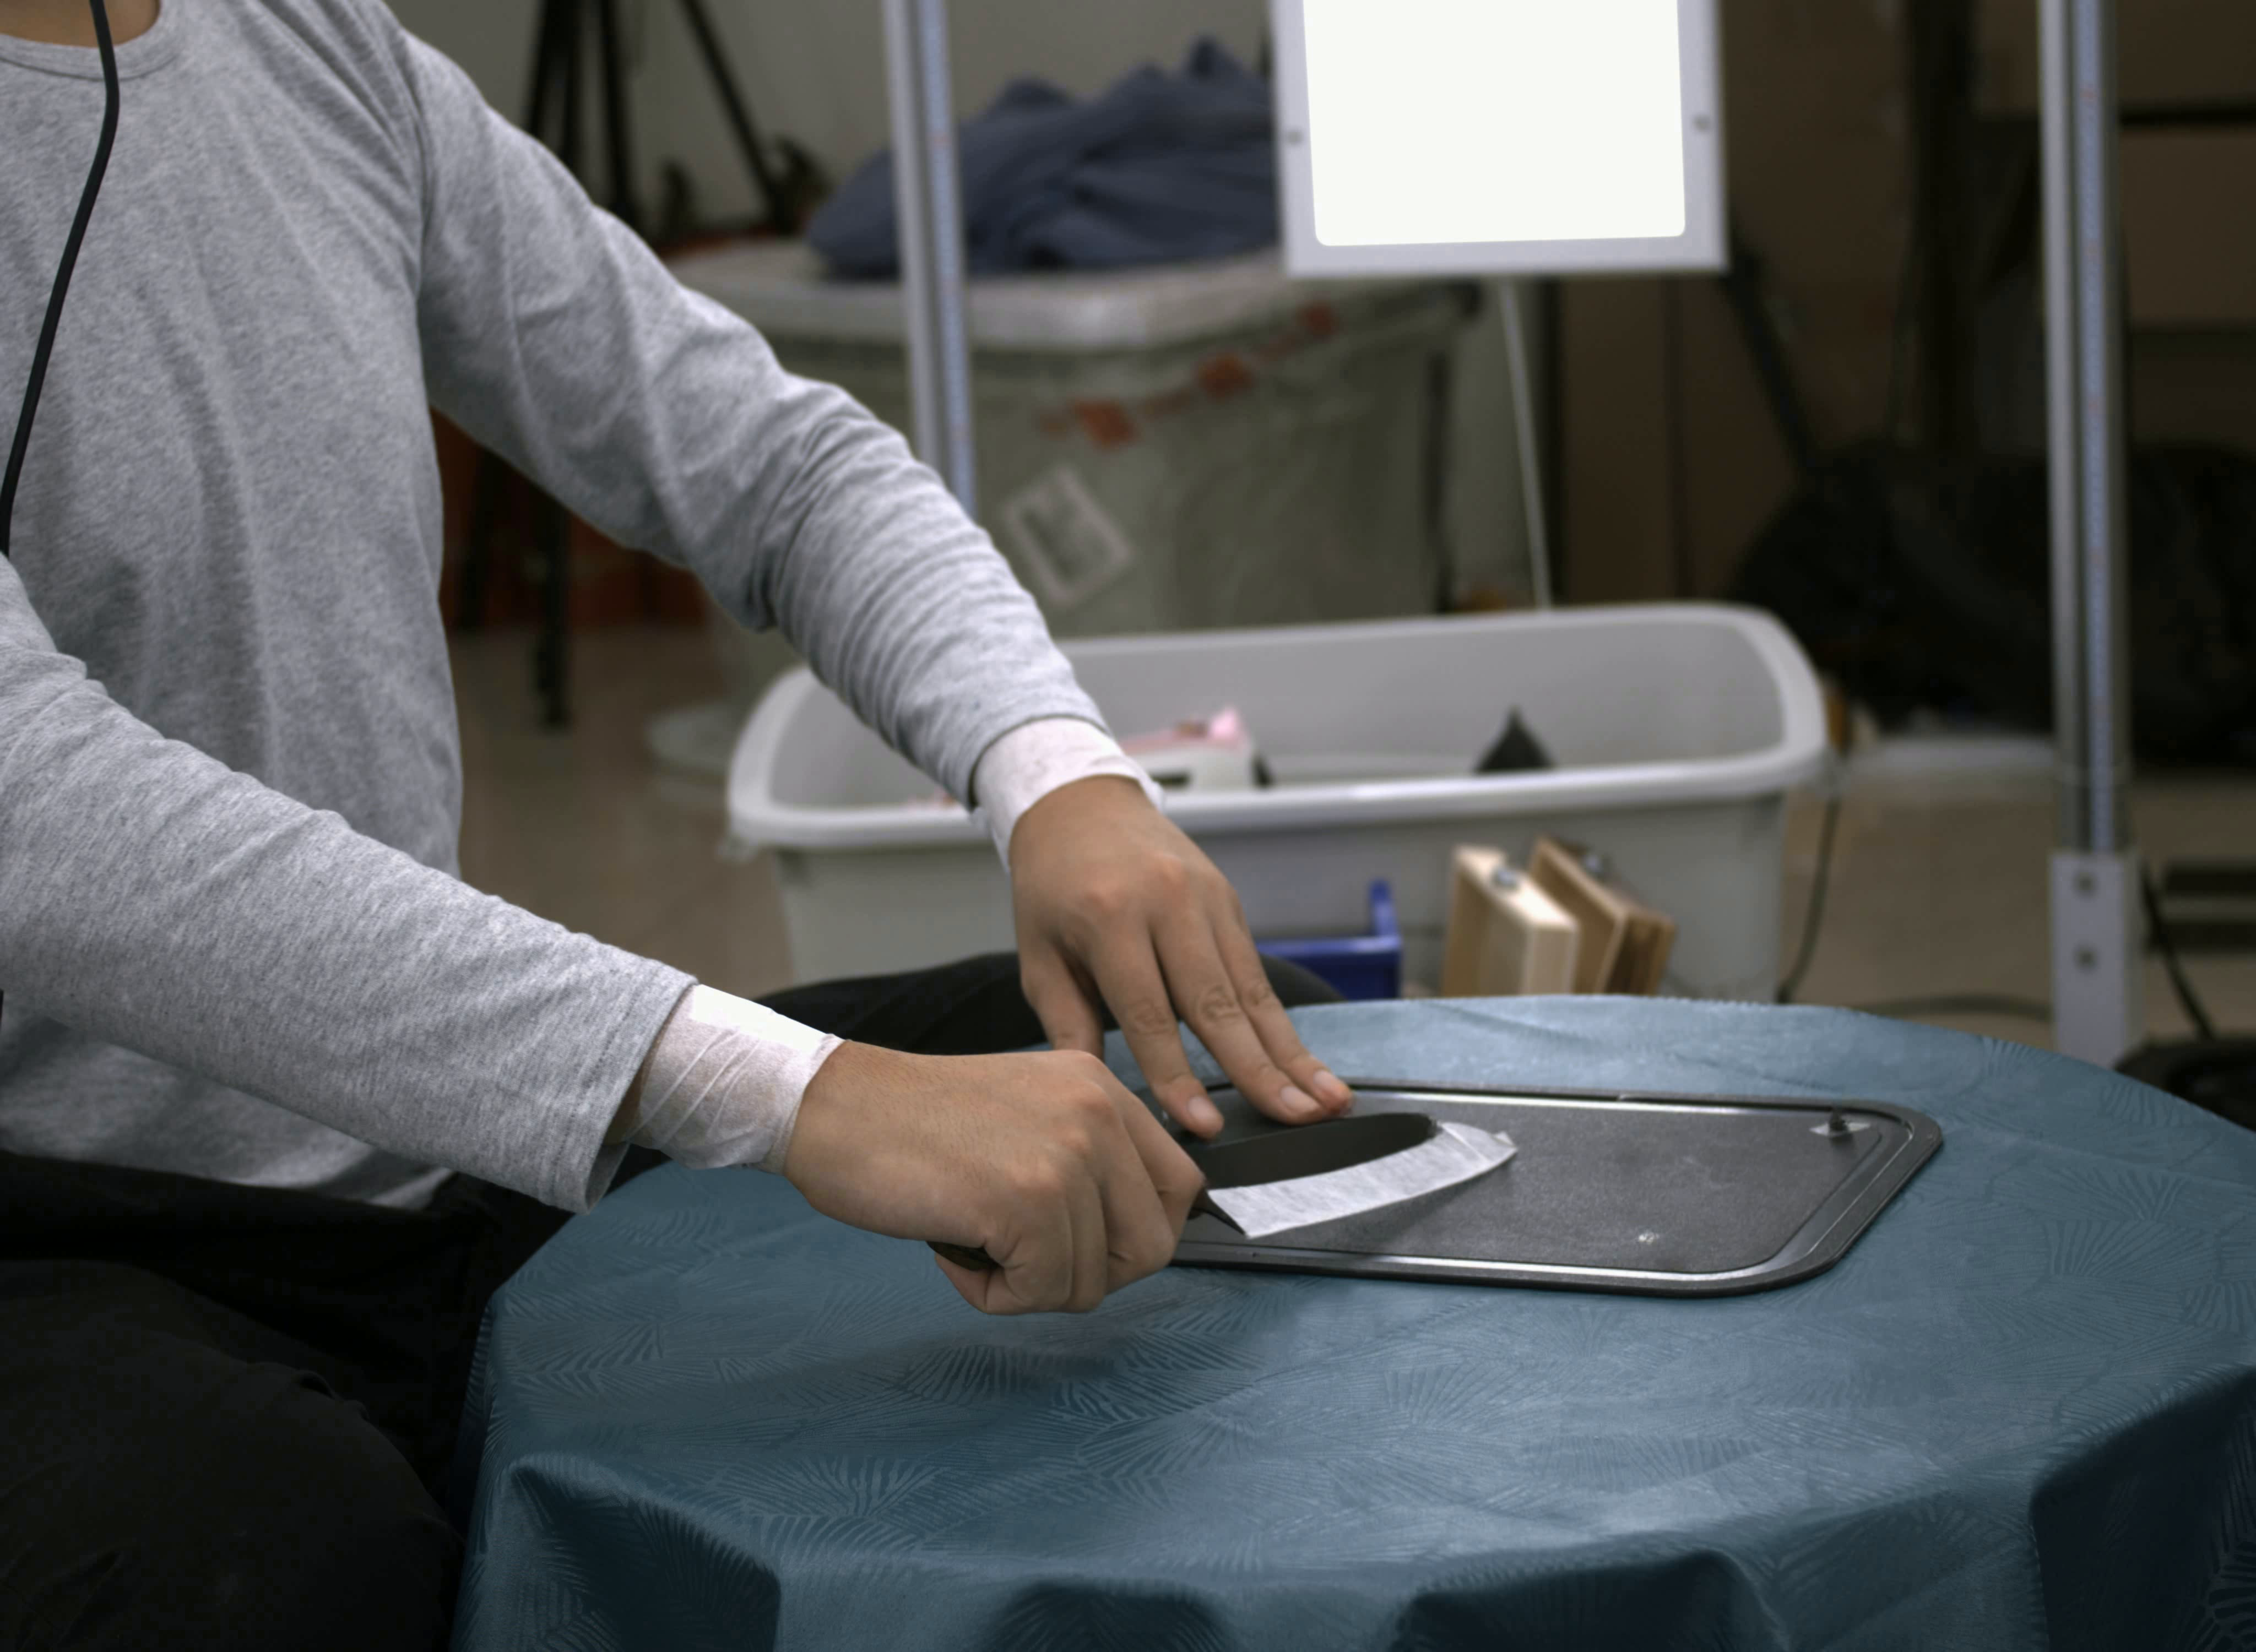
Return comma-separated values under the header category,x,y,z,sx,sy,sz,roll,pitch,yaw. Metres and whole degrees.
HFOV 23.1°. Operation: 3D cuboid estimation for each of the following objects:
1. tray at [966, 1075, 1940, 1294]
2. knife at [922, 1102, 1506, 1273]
category,x,y,z,sx,sy,sz,roll,pitch,yaw
tray,0.105,0.119,1.885,0.331,0.010,0.207,1,15,26
knife,0.036,0.117,1.805,0.282,0.020,0.051,-5,40,-48
